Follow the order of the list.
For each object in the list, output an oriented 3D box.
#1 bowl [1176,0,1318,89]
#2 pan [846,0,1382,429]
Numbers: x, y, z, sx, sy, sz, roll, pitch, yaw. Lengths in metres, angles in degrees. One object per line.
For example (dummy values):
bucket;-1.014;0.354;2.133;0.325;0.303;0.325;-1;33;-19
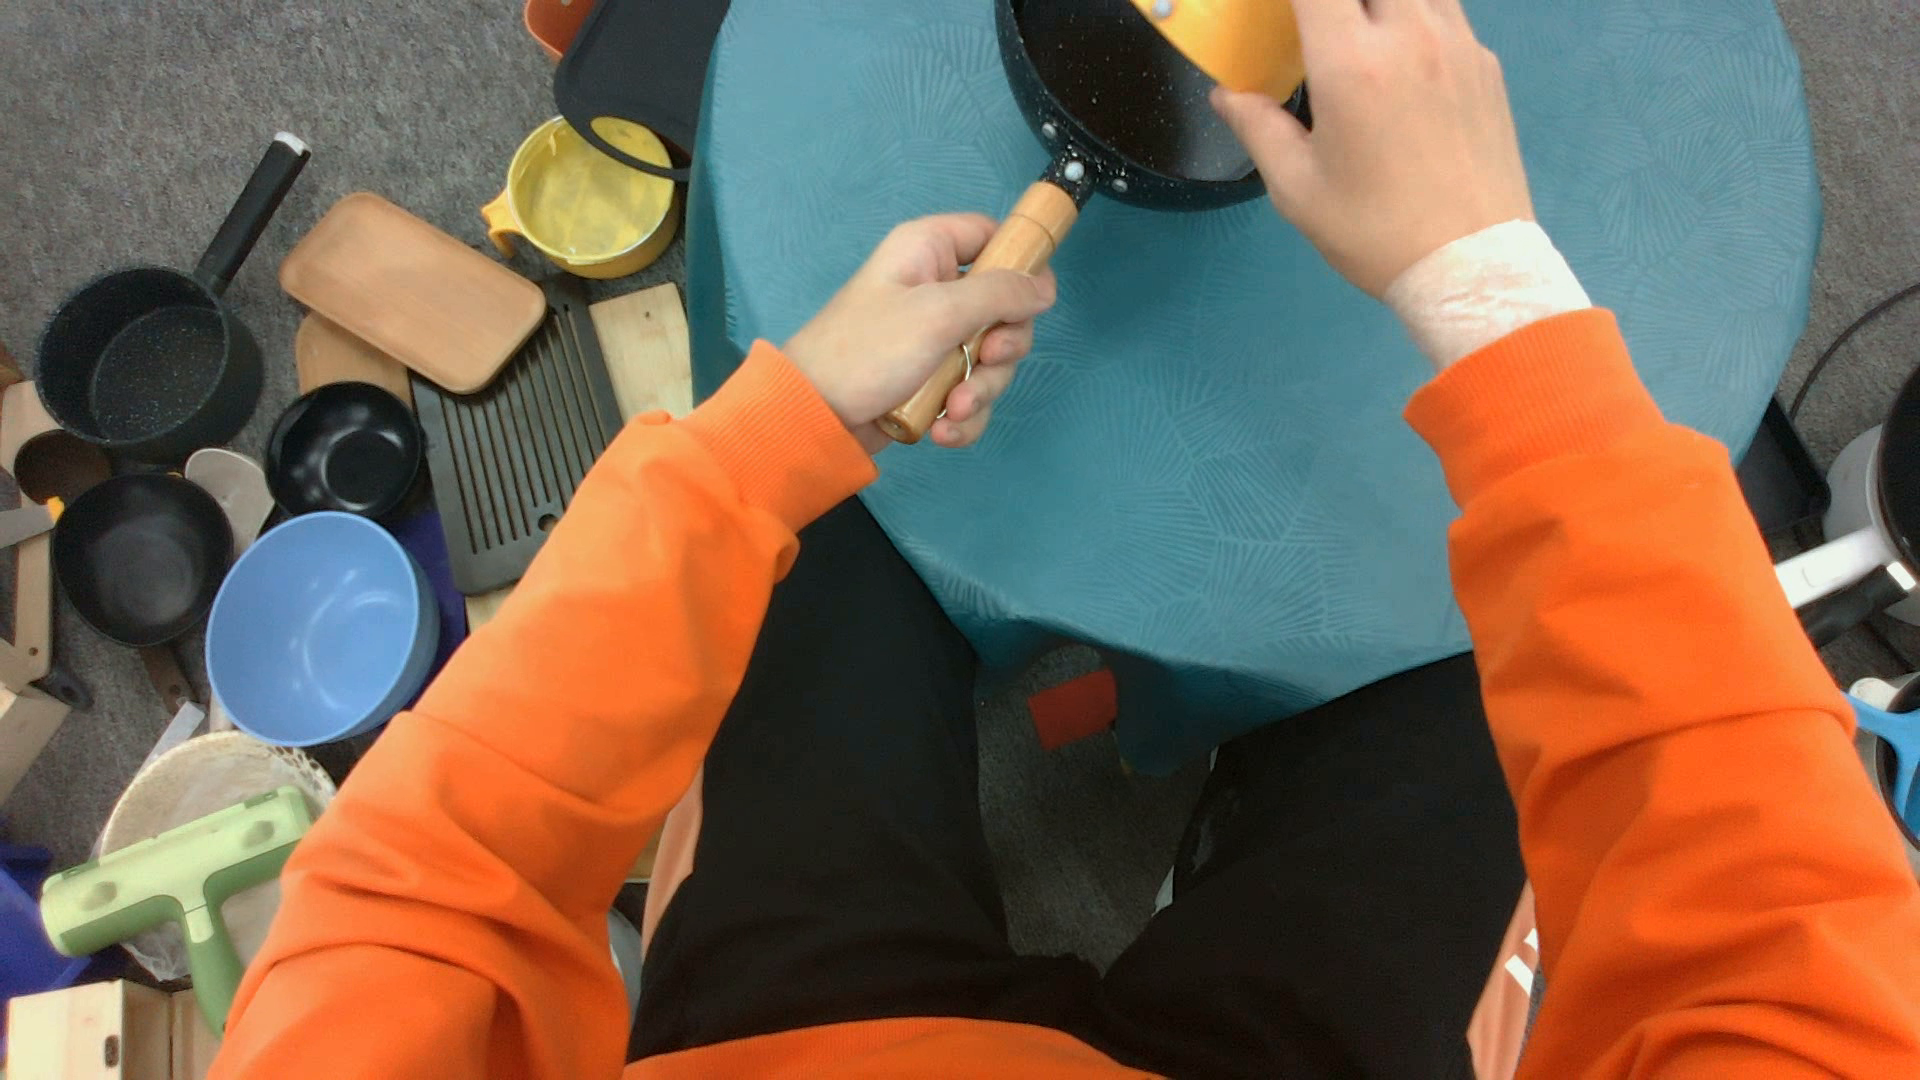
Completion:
bowl;0.107;-0.260;0.553;0.060;0.145;0.145;-30;76;27
pan;0.052;-0.183;0.626;0.207;0.108;0.343;34;80;-5
